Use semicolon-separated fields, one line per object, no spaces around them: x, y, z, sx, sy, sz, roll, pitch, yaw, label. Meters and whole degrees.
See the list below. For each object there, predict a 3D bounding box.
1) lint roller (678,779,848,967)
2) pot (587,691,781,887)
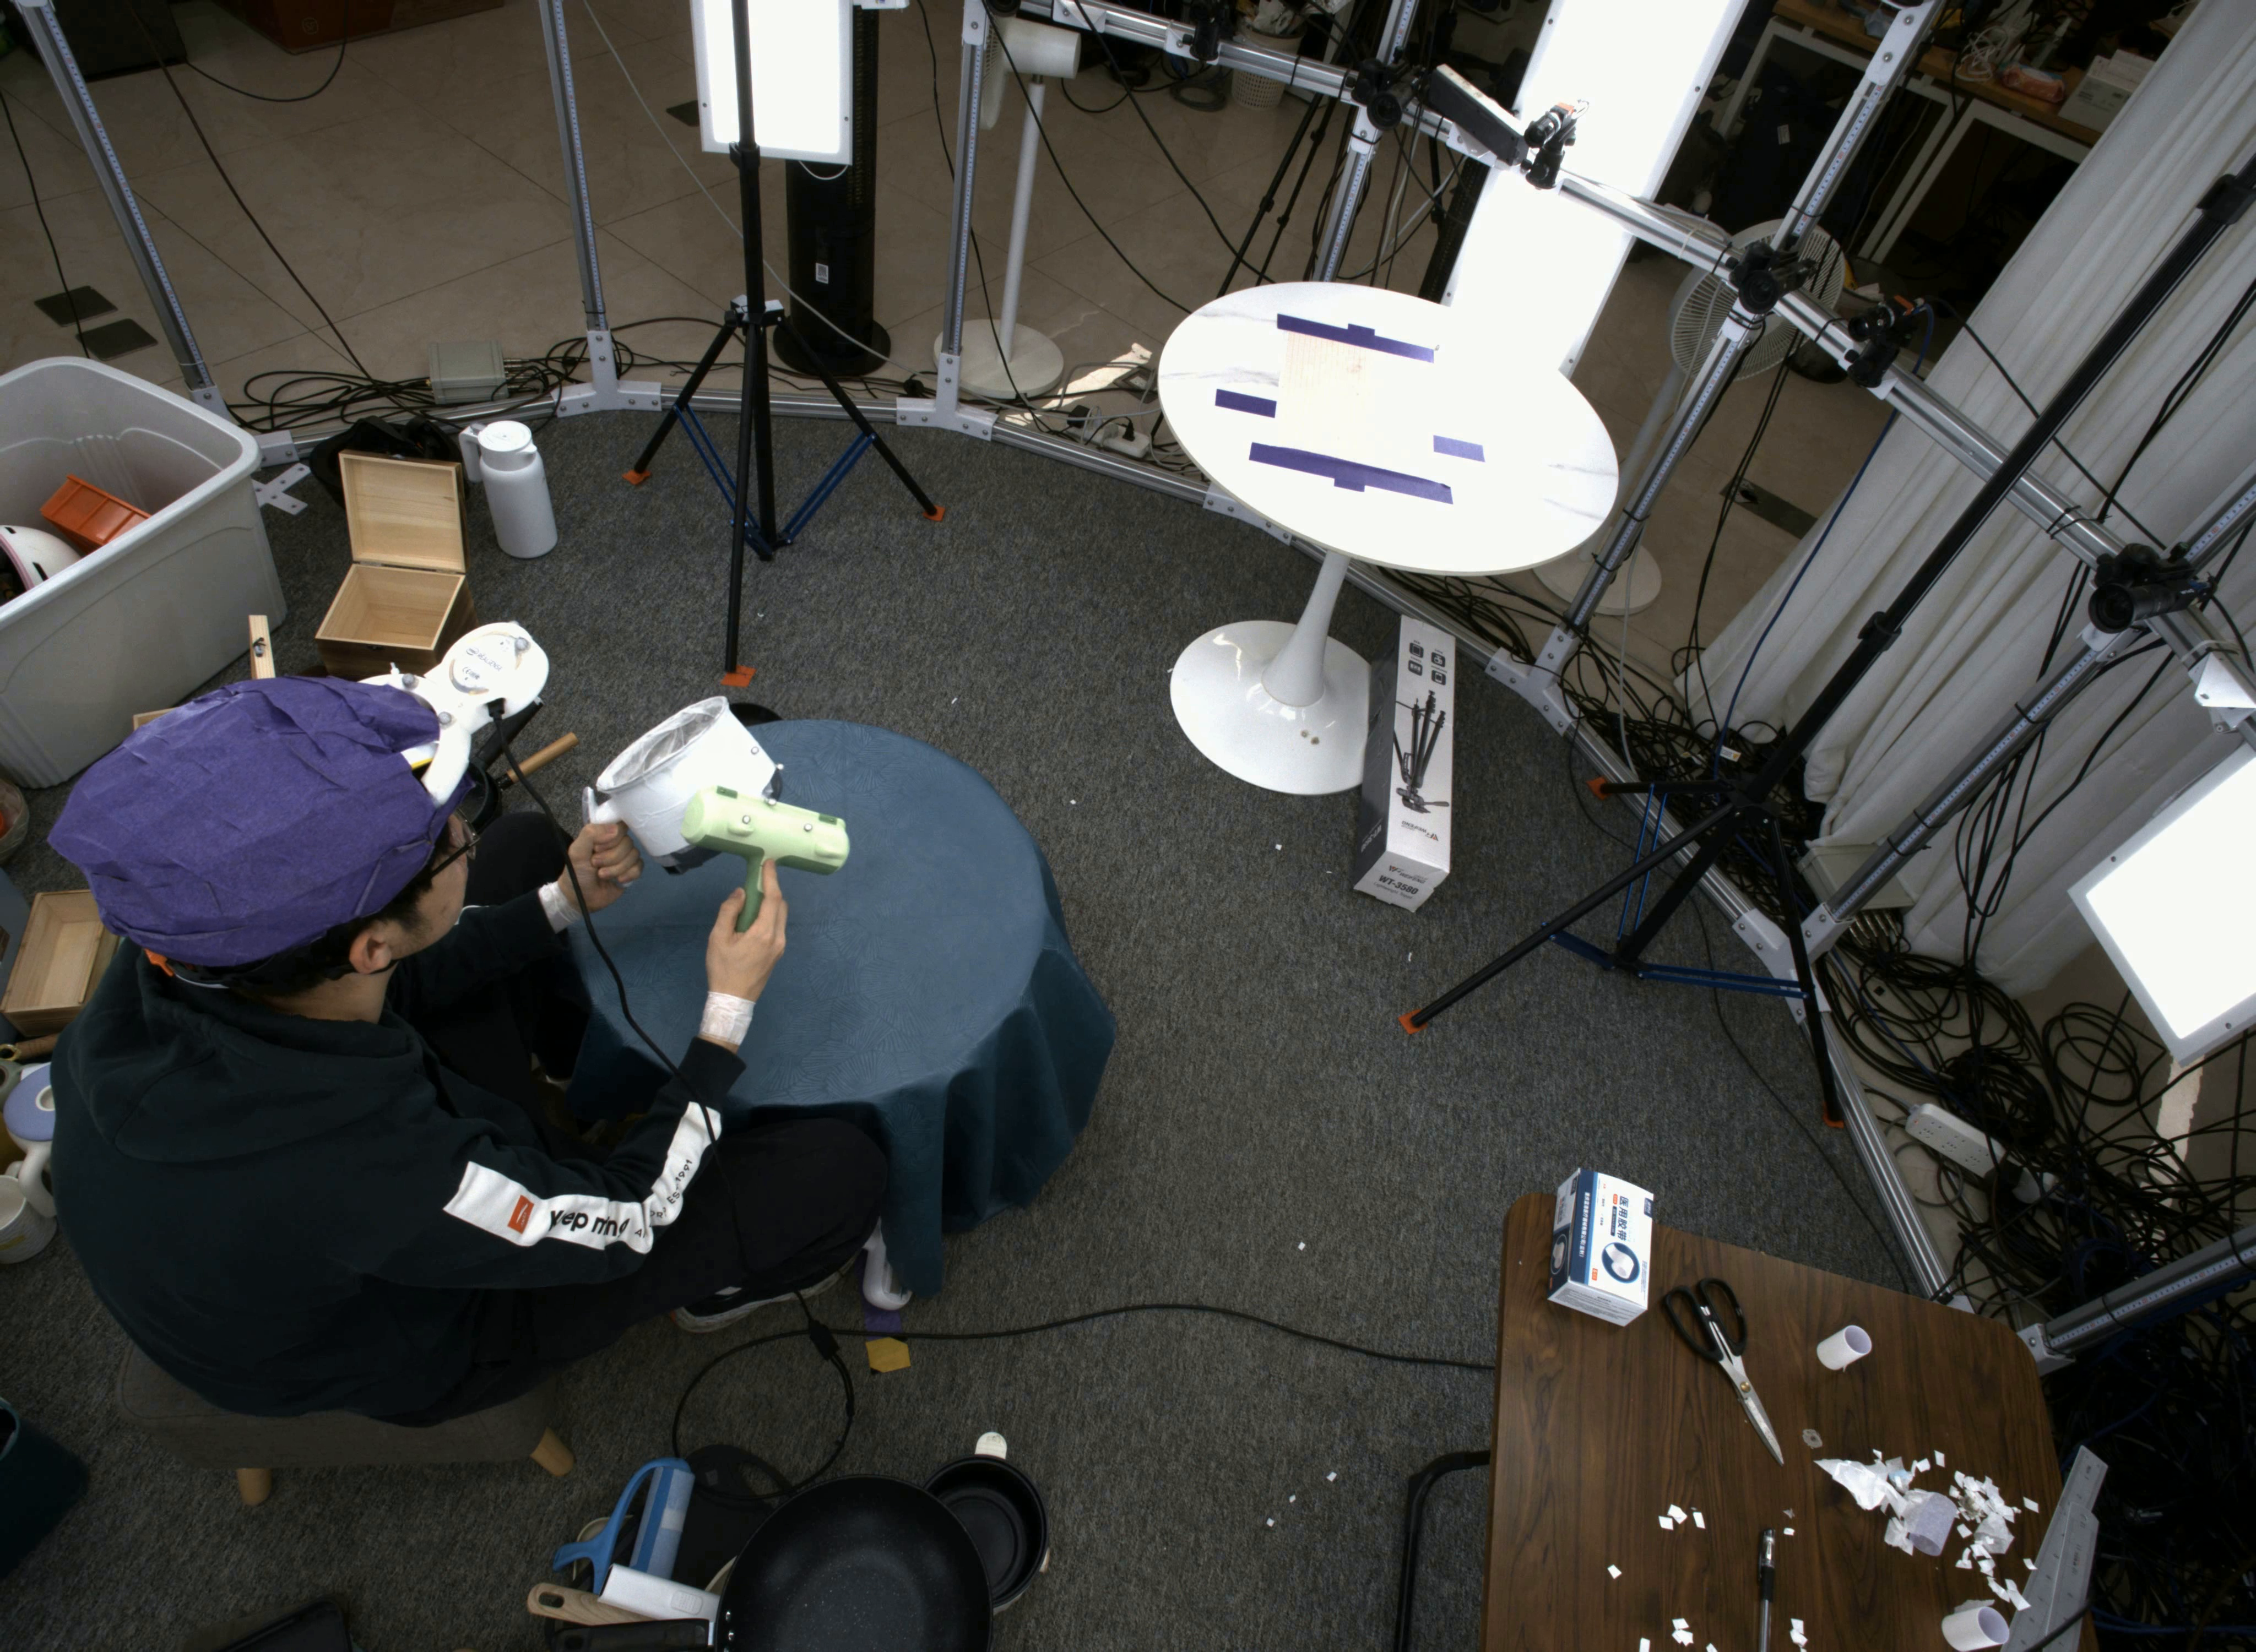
-0.398;0.059;1.418;0.204;0.080;0.183;18;70;-50;lint roller
-0.526;-0.036;1.489;0.233;0.141;0.173;-35;26;-9;pot
